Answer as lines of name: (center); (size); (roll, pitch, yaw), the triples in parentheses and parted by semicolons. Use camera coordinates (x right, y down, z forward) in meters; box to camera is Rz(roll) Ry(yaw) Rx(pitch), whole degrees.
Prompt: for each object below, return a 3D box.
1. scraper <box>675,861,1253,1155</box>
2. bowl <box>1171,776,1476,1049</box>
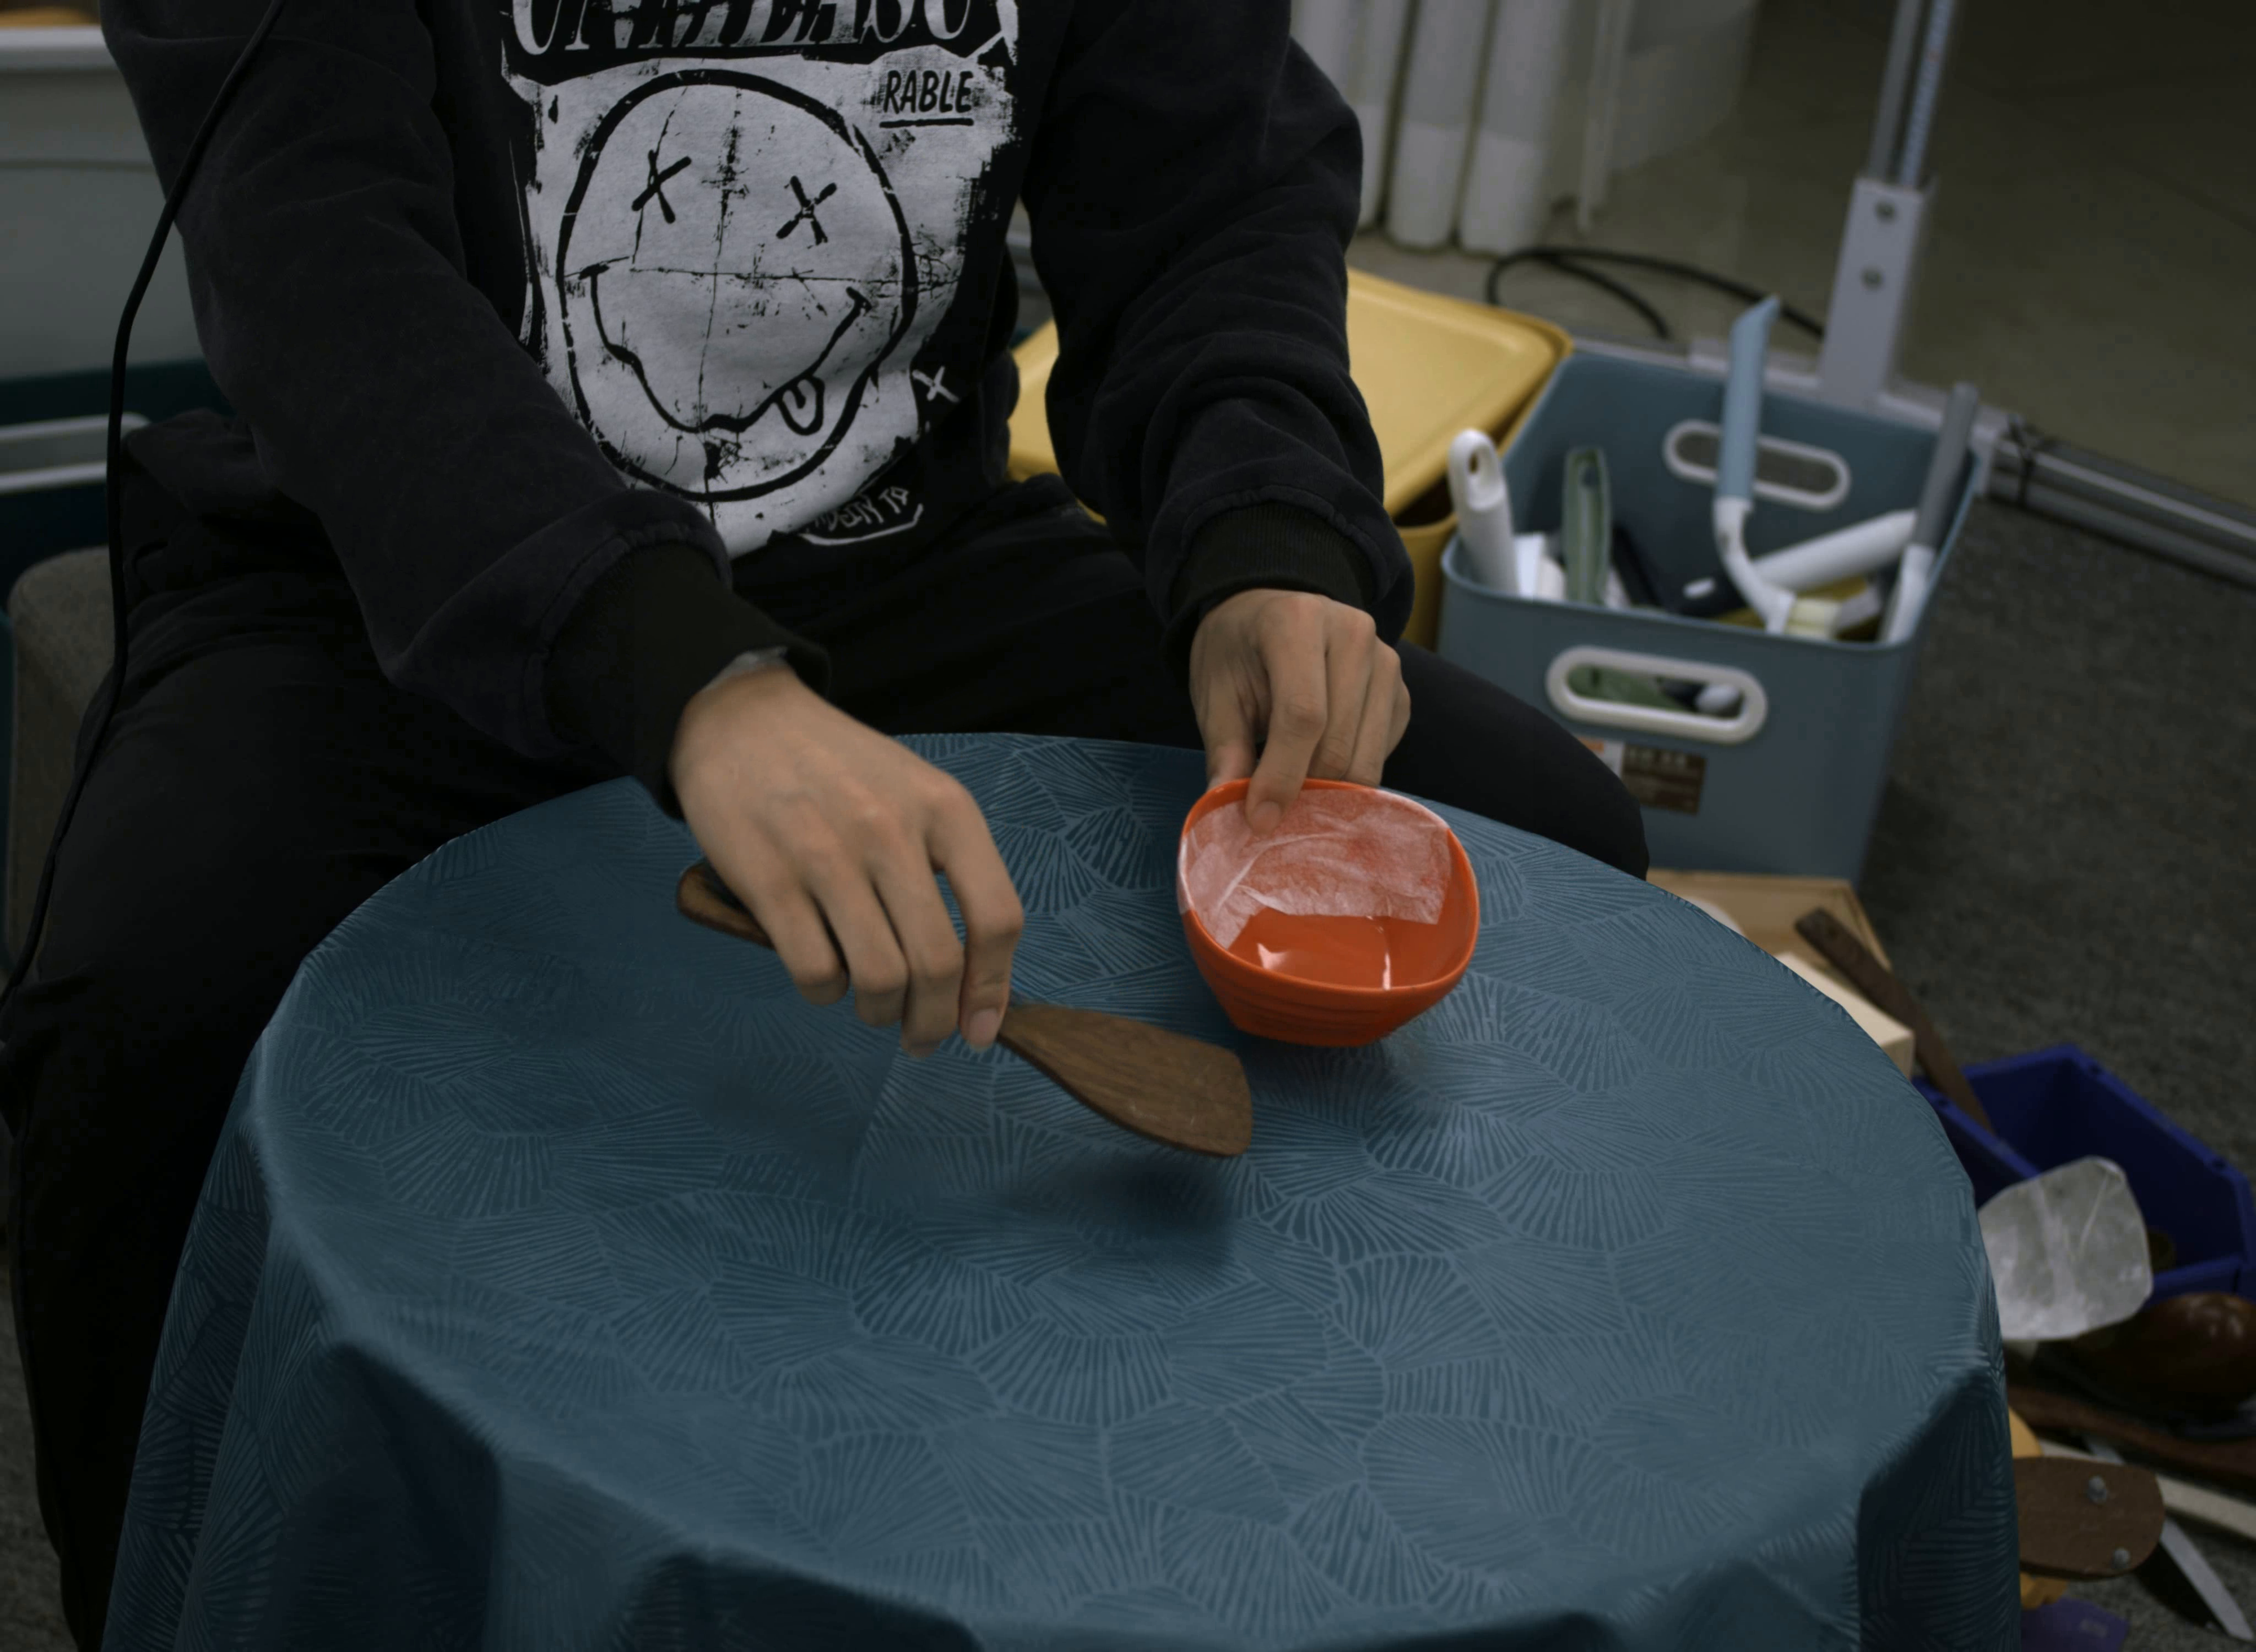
scraper: (-0.054, 0.057, 1.778); (0.210, 0.011, 0.076); (23, 26, -11)
bowl: (0.066, 0.038, 1.903); (0.118, 0.051, 0.120); (7, 42, -7)
